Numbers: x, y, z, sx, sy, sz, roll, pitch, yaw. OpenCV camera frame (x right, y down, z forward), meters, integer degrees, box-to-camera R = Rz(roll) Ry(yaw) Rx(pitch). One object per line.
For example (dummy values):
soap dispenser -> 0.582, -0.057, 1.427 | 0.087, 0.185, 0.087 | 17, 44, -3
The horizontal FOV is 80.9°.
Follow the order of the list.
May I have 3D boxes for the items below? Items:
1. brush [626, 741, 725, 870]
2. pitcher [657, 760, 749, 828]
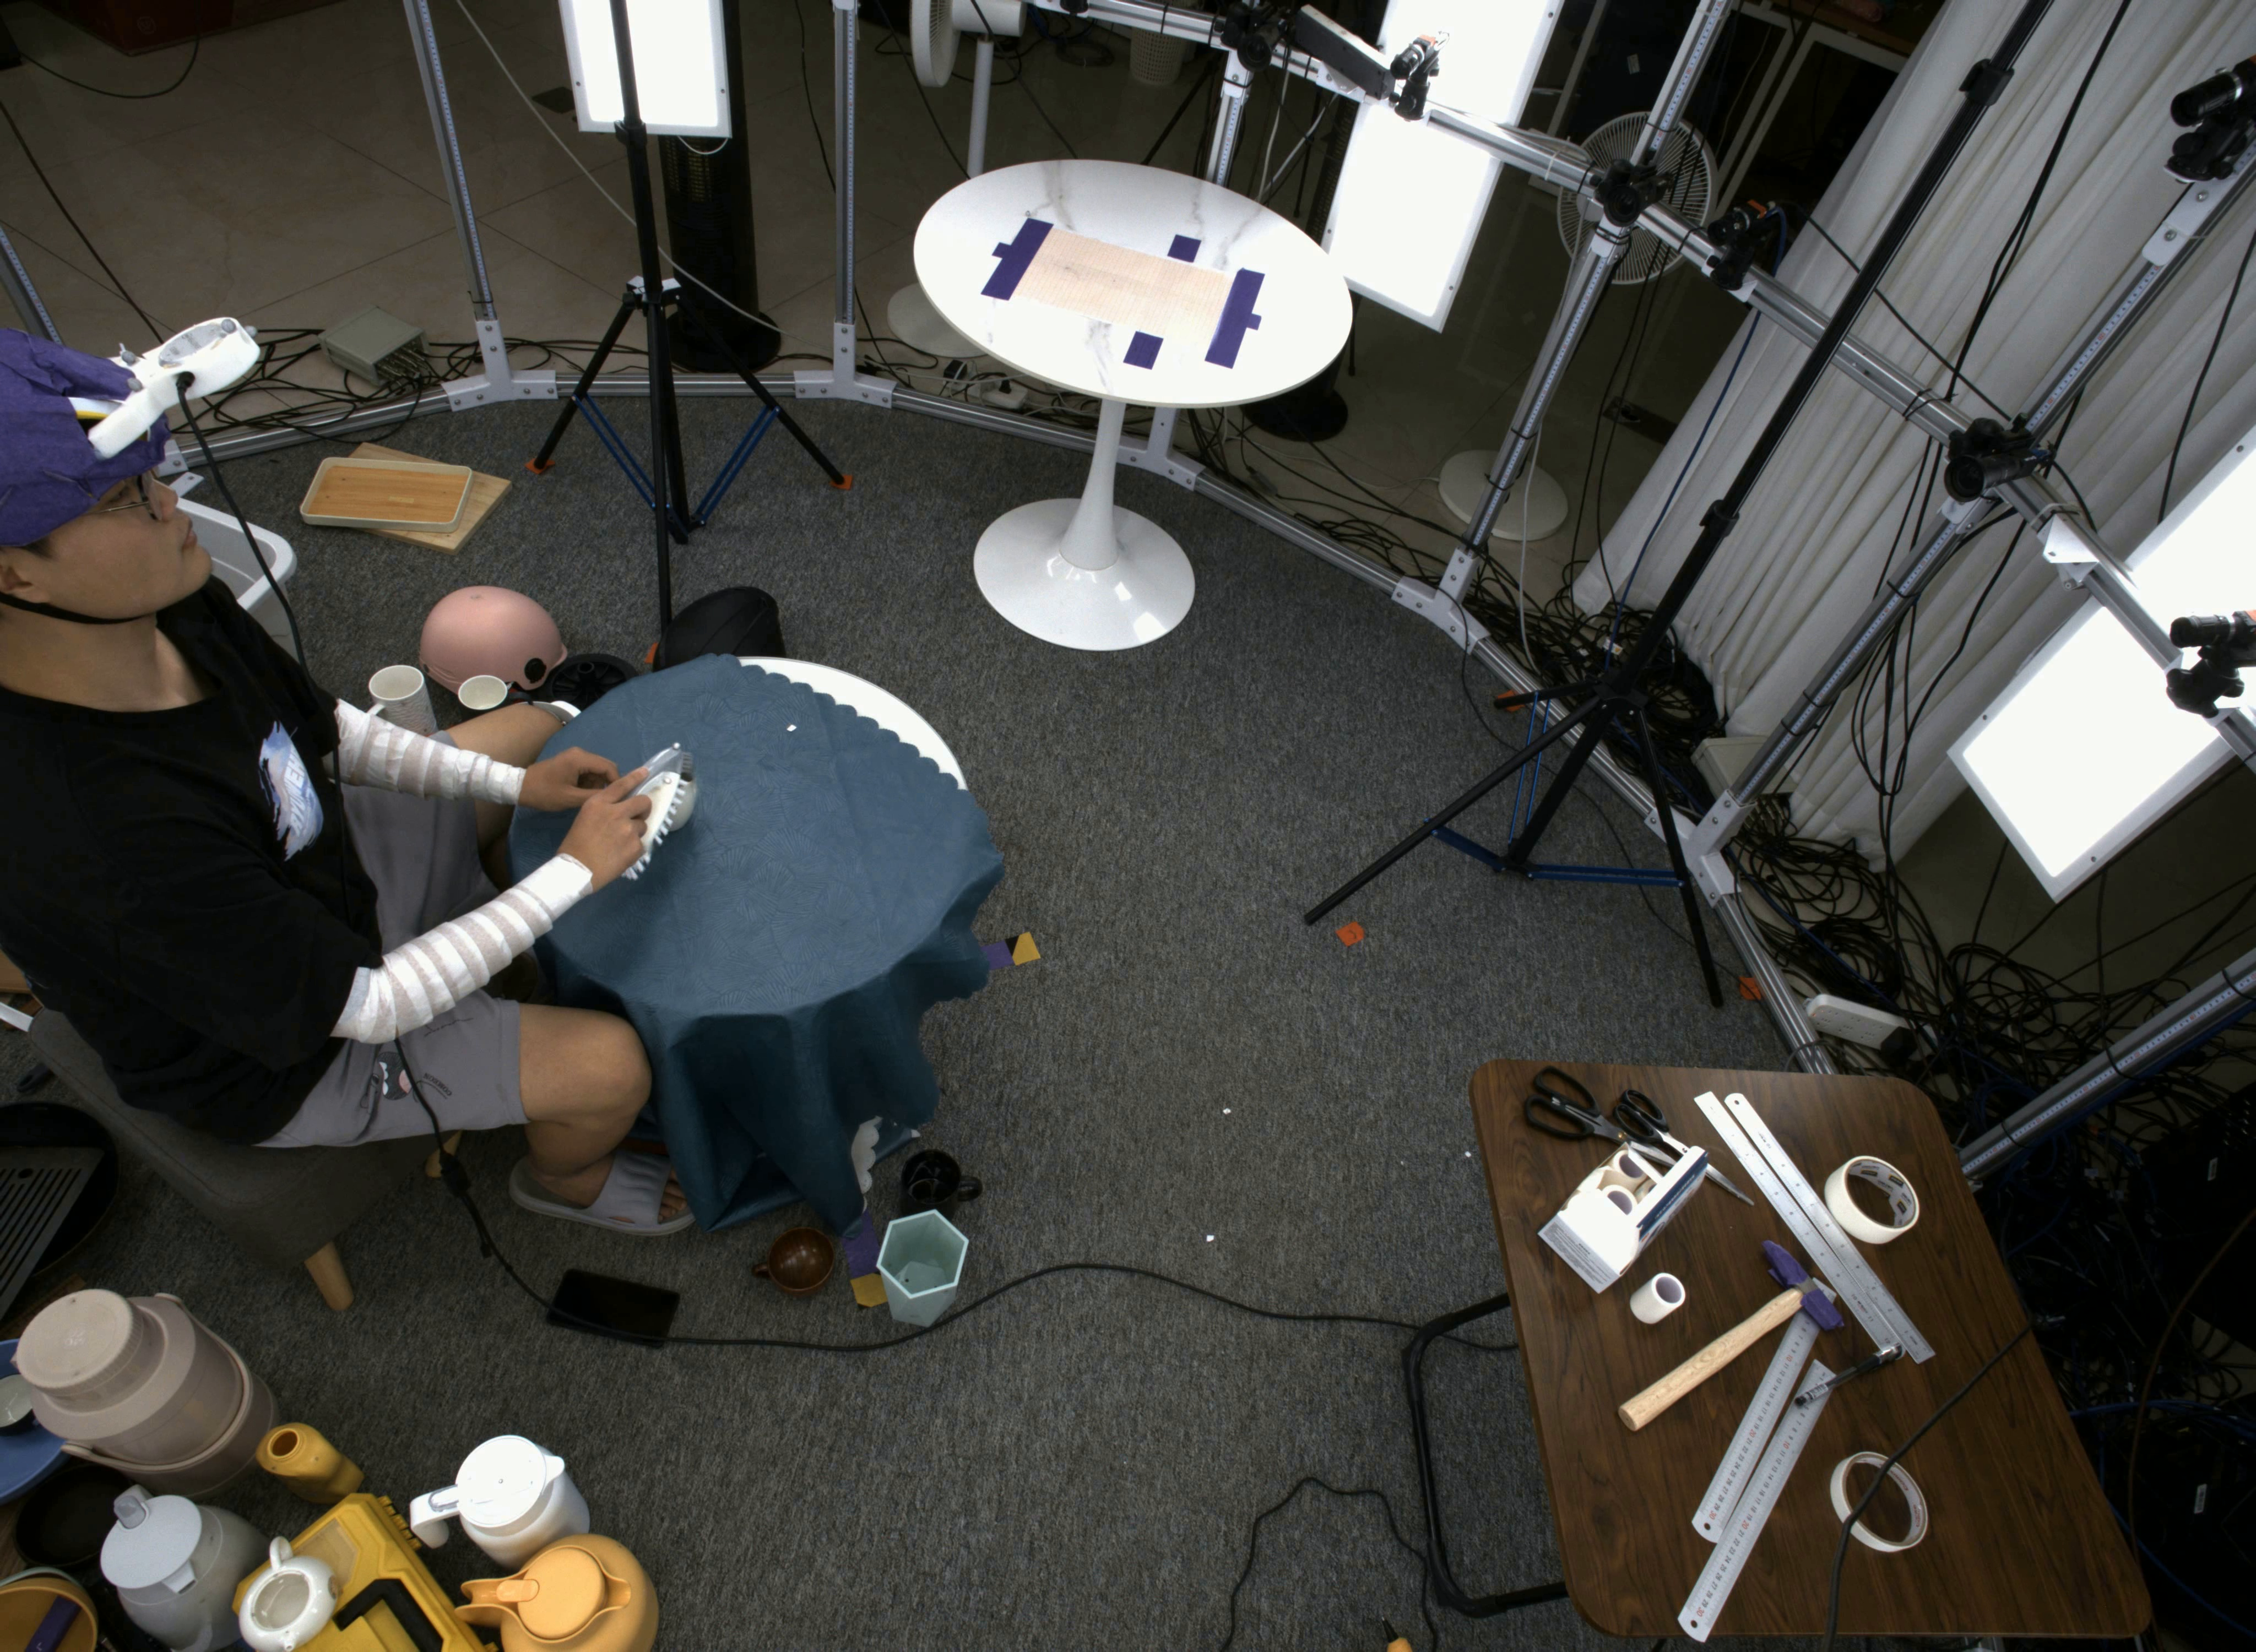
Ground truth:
brush -> -0.554, -0.042, 1.583 | 0.061, 0.095, 0.175 | 29, 68, 4
pitcher -> -0.552, -0.045, 1.681 | 0.119, 0.090, 0.074 | 2, 49, -13
